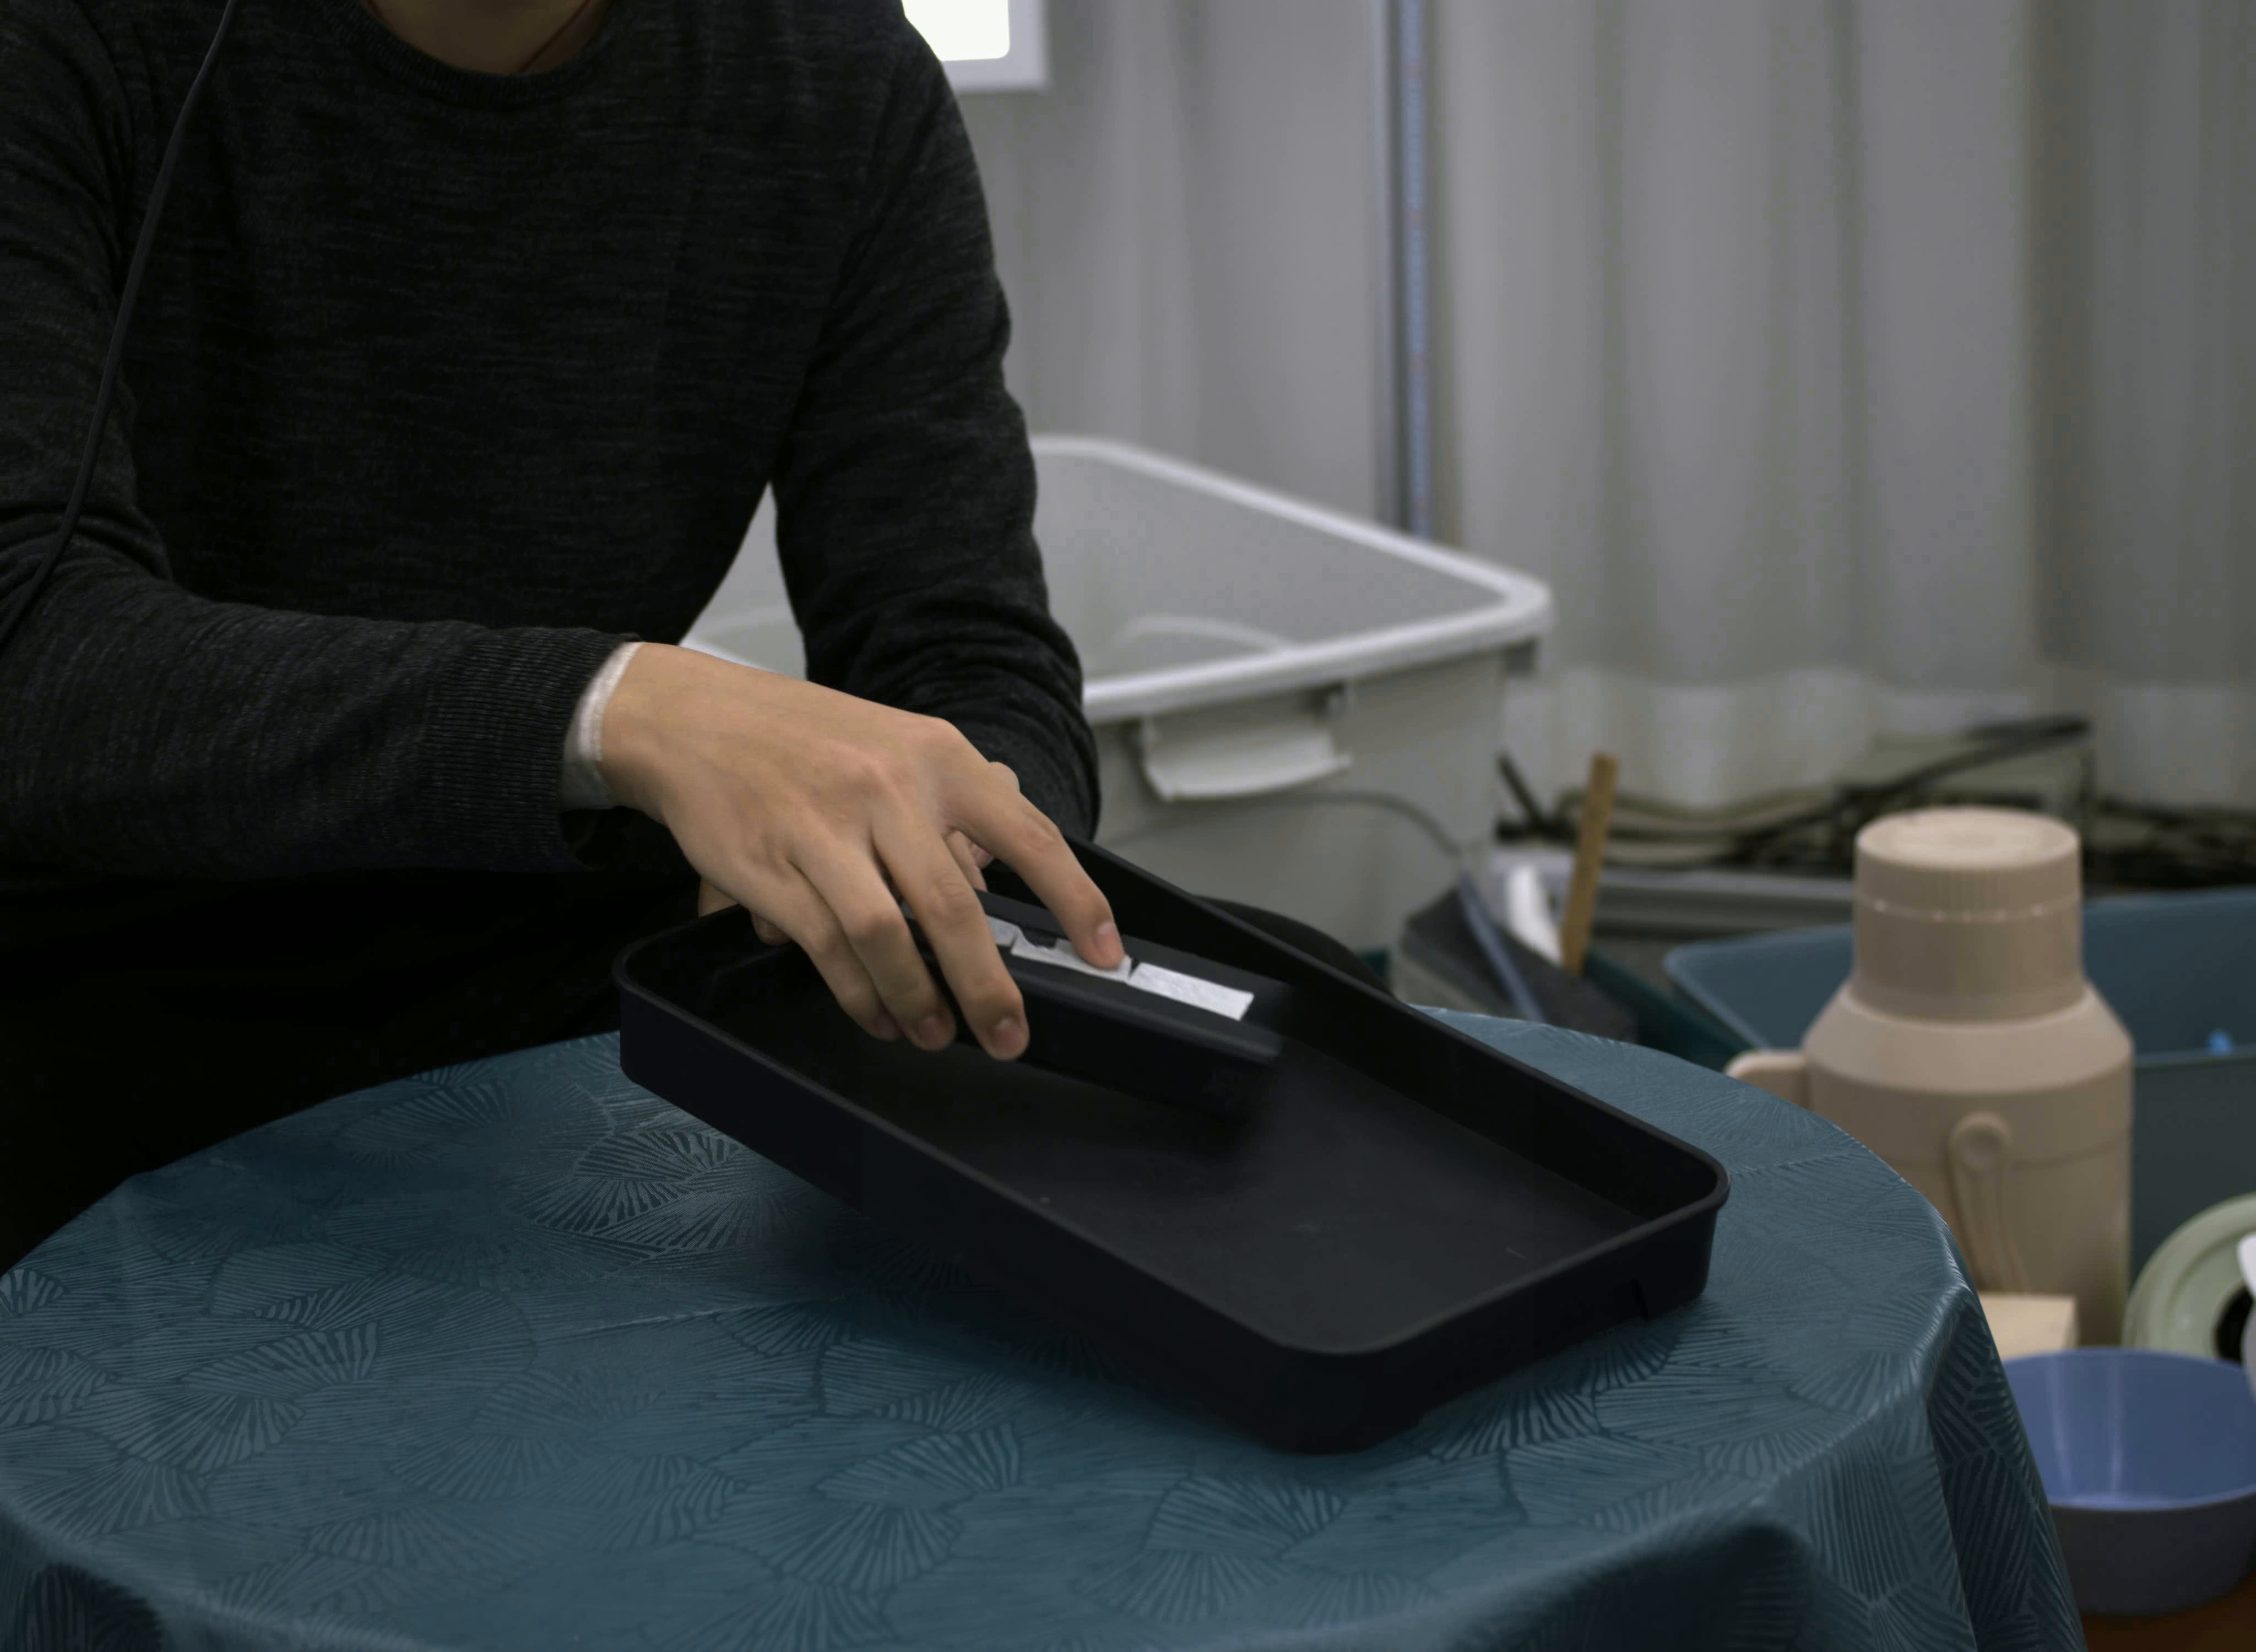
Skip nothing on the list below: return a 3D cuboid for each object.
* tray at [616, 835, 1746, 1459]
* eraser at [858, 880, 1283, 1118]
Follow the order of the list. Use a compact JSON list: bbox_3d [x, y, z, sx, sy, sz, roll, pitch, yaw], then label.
[{"bbox_3d":[0.011,0.088,1.628,0.320,0.037,0.184,24,31,39],"label":"tray"},{"bbox_3d":[-0.017,0.051,1.653,0.125,0.030,0.054,15,23,5],"label":"eraser"}]
